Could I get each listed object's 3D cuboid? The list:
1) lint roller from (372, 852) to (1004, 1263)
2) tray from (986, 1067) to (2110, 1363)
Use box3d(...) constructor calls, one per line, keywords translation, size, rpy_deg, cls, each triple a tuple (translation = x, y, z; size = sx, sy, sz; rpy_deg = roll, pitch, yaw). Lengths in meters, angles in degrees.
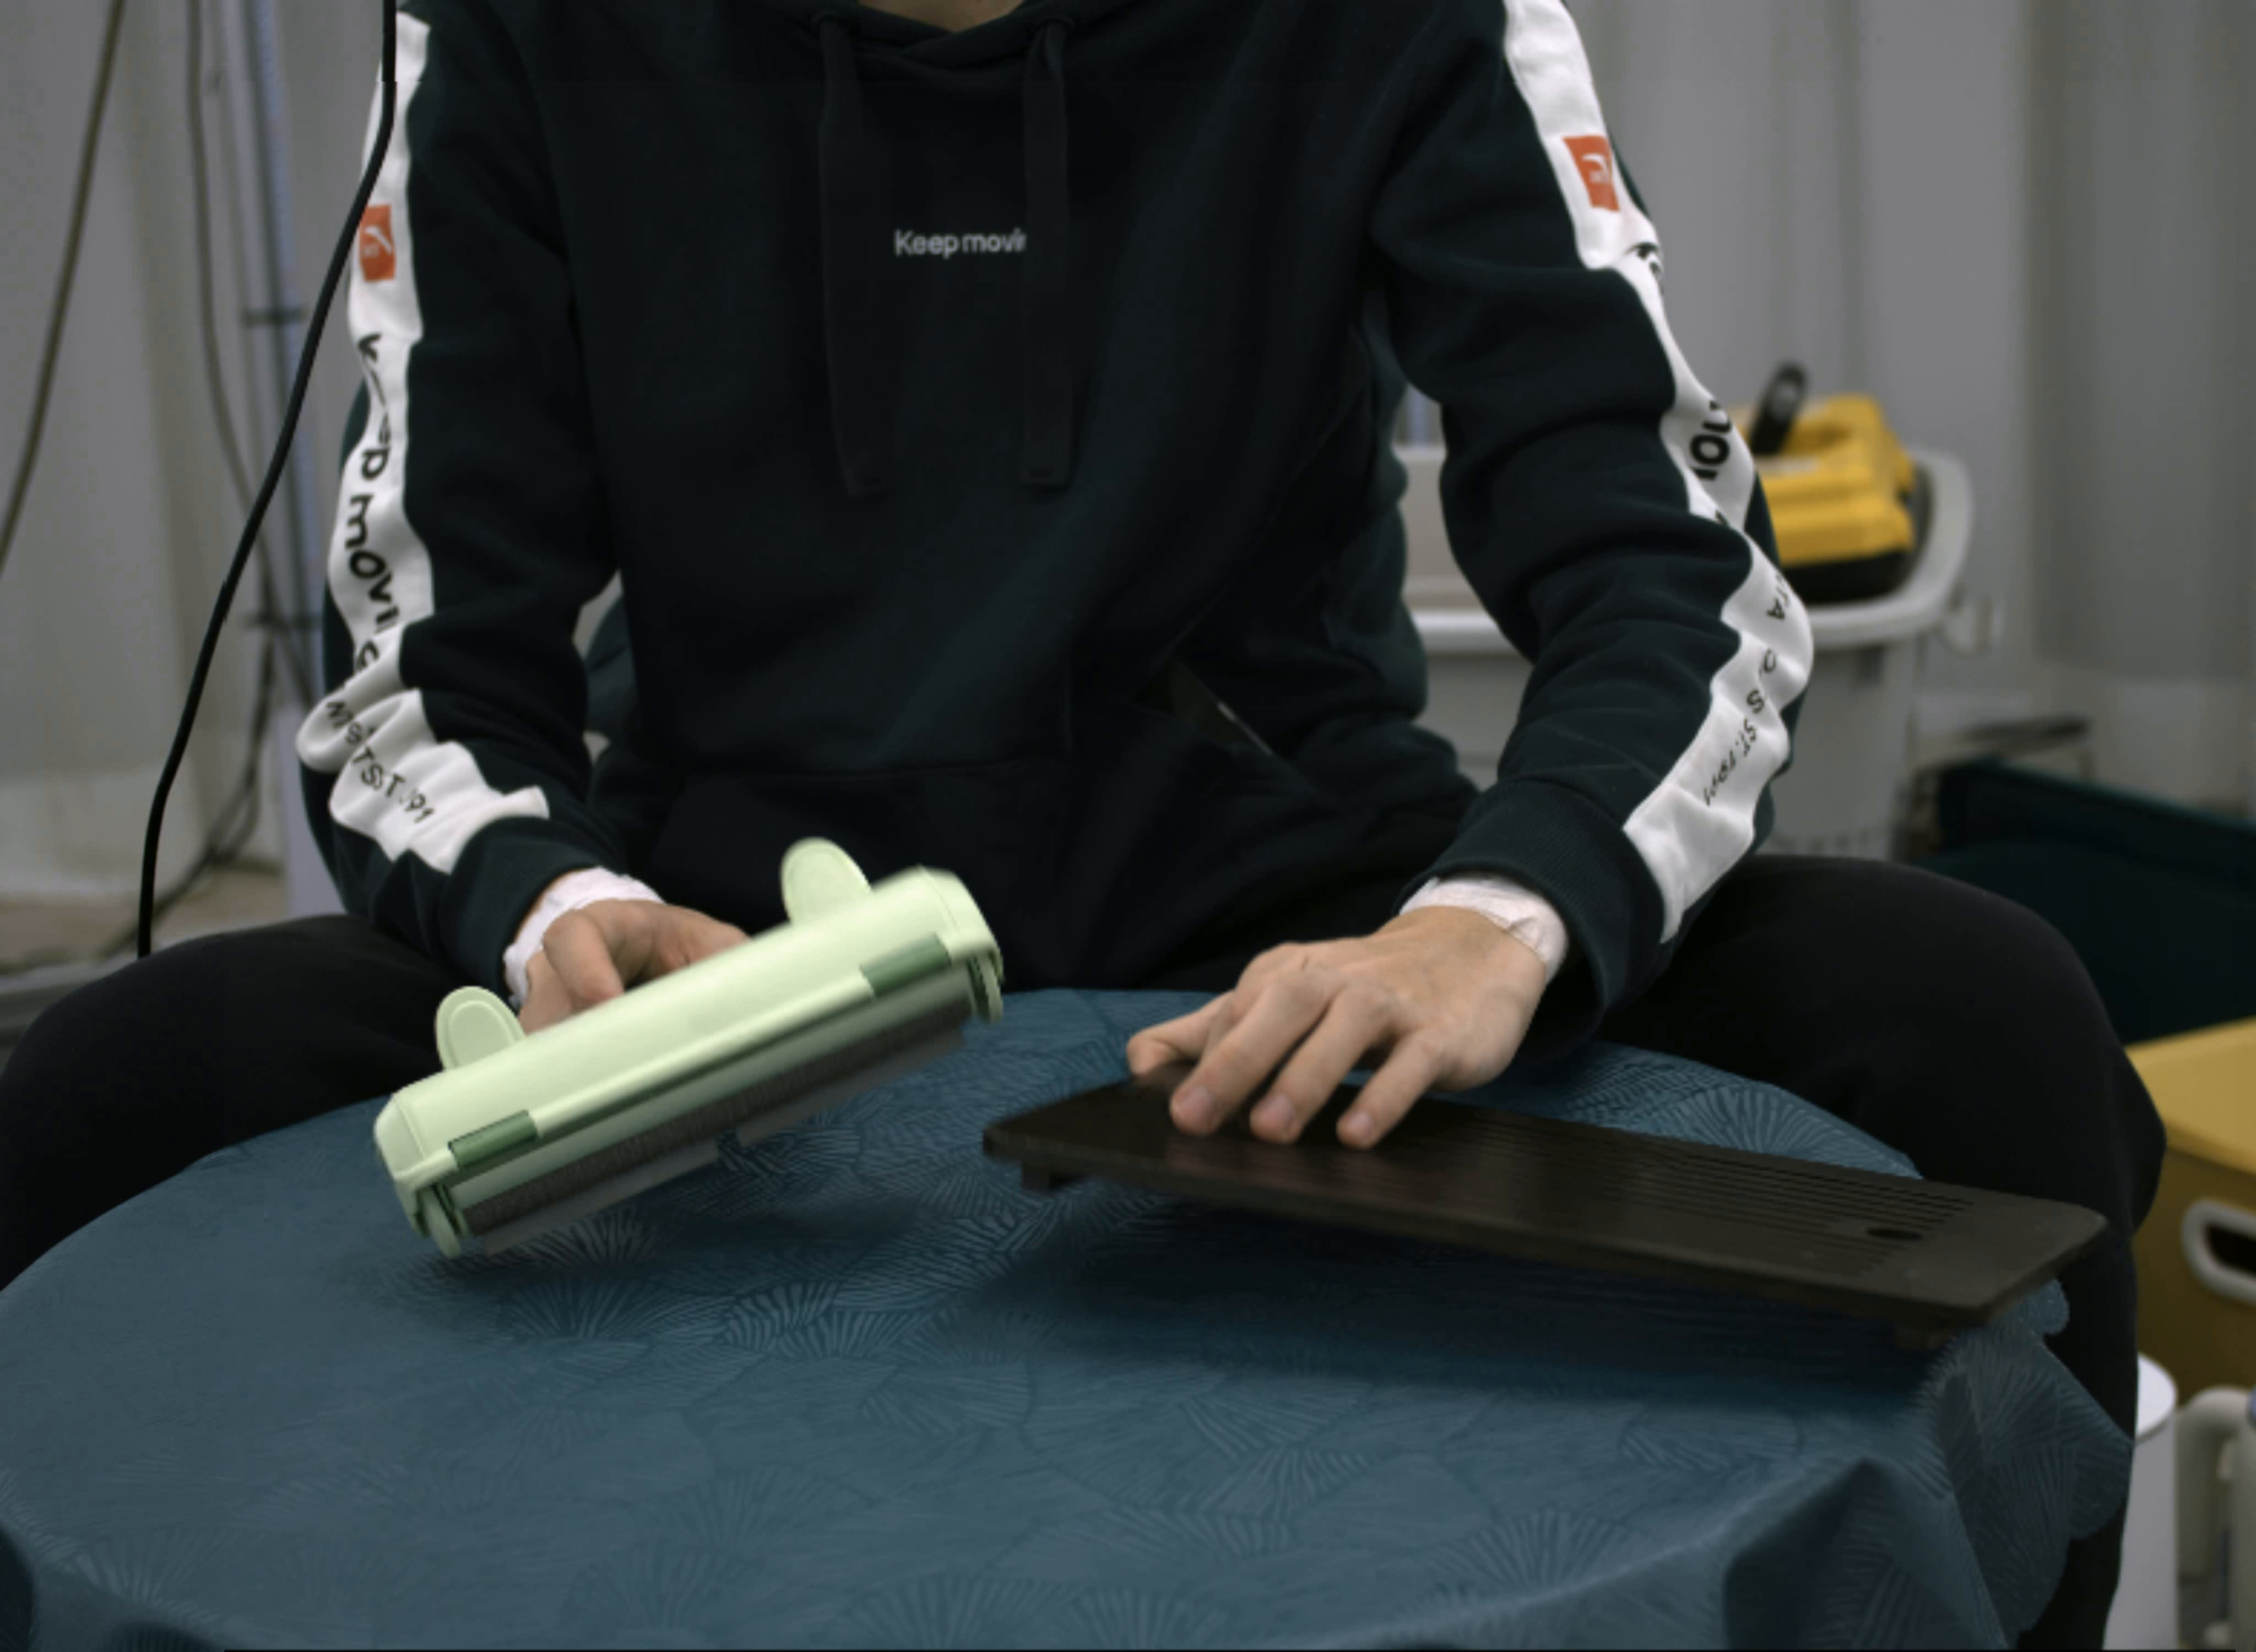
box3d(translation=(-0.151, 0.058, 1.729), size=(0.198, 0.082, 0.184), rpy_deg=(-21, 17, -11), cls="lint roller")
box3d(translation=(0.125, 0.113, 1.620), size=(0.306, 0.018, 0.170), rpy_deg=(8, 10, 22), cls="tray")
